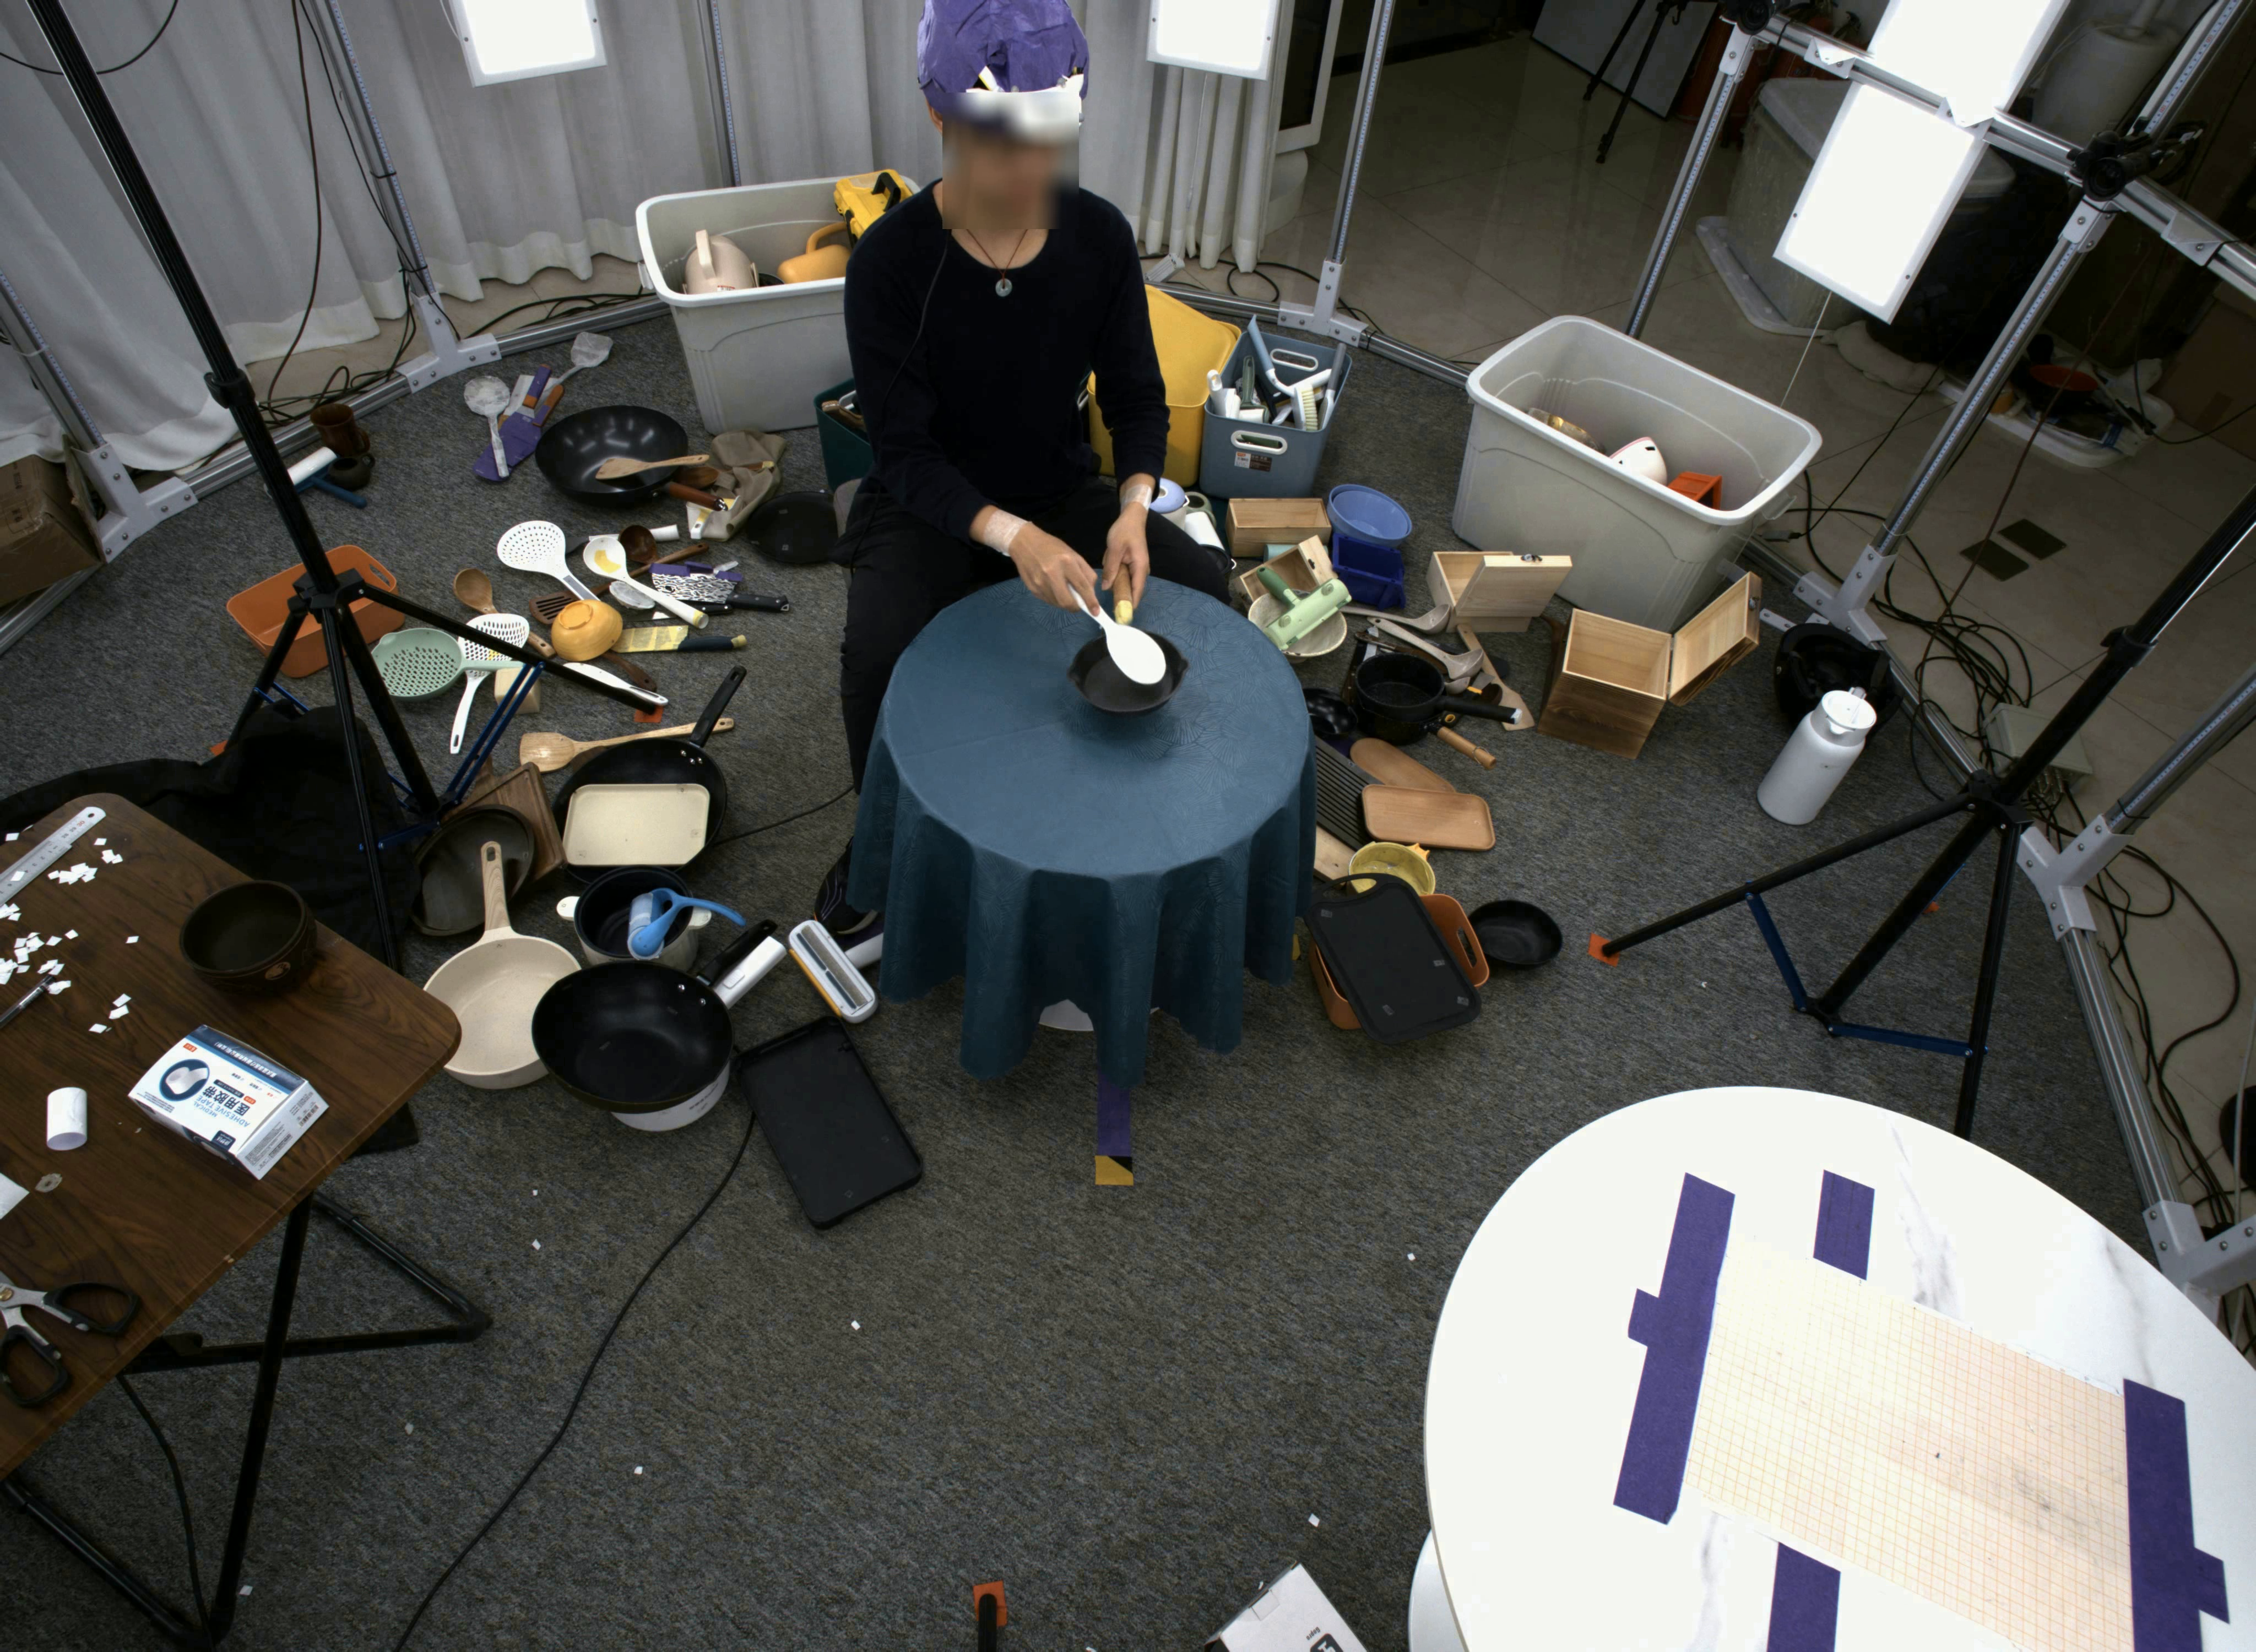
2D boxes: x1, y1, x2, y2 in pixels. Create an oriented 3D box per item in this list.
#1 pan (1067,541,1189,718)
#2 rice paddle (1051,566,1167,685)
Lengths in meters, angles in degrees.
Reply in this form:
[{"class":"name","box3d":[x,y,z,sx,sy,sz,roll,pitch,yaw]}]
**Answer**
[{"class":"pan","box3d":[-0.001,-0.280,1.822,0.169,0.048,0.332,-3,52,2]},{"class":"rice paddle","box3d":[-0.025,-0.274,1.765,0.206,0.029,0.069,46,65,4]}]
